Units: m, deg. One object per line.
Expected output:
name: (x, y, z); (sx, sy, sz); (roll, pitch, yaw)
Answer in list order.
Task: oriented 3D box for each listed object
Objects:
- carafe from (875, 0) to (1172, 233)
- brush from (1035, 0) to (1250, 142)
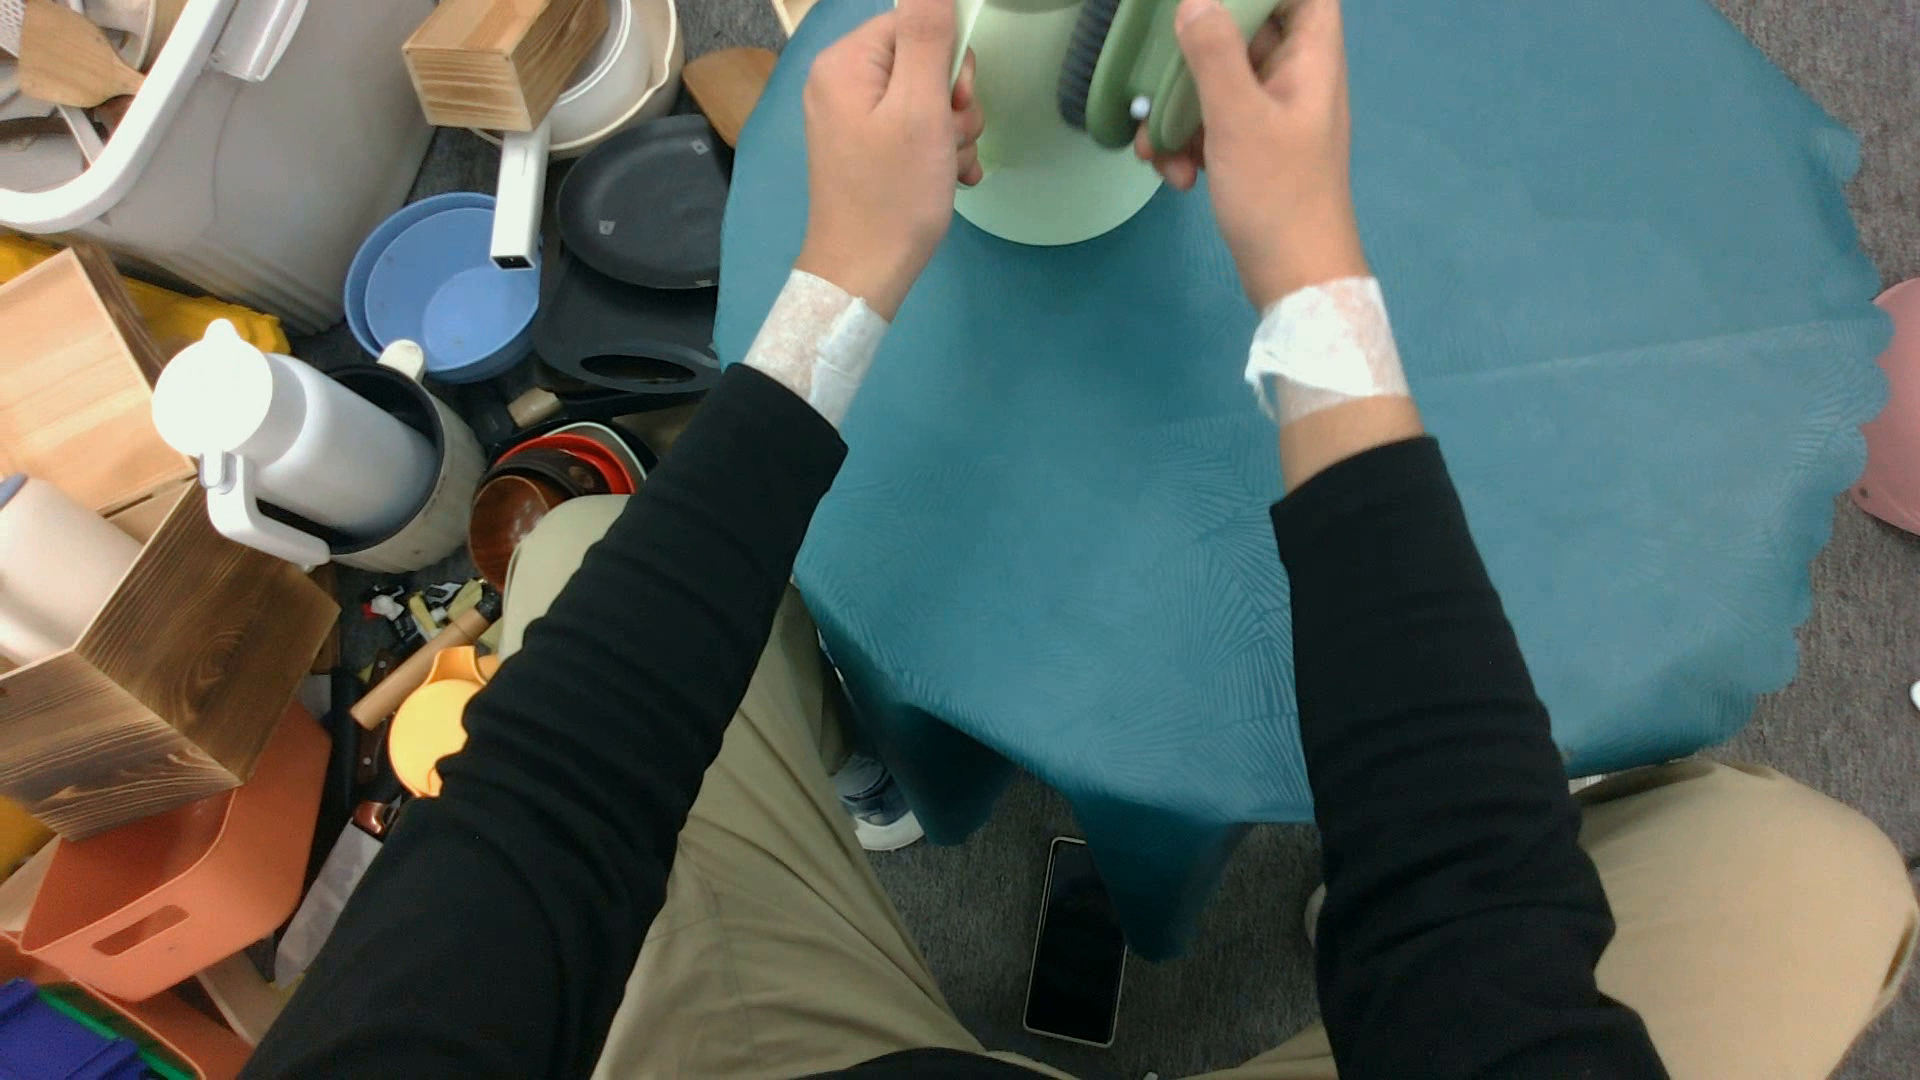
carafe: (0.024, -0.250, 0.661); (0.144, 0.256, 0.187); (28, 83, 10)
brush: (0.081, -0.230, 0.583); (0.076, 0.060, 0.122); (42, 107, 19)
